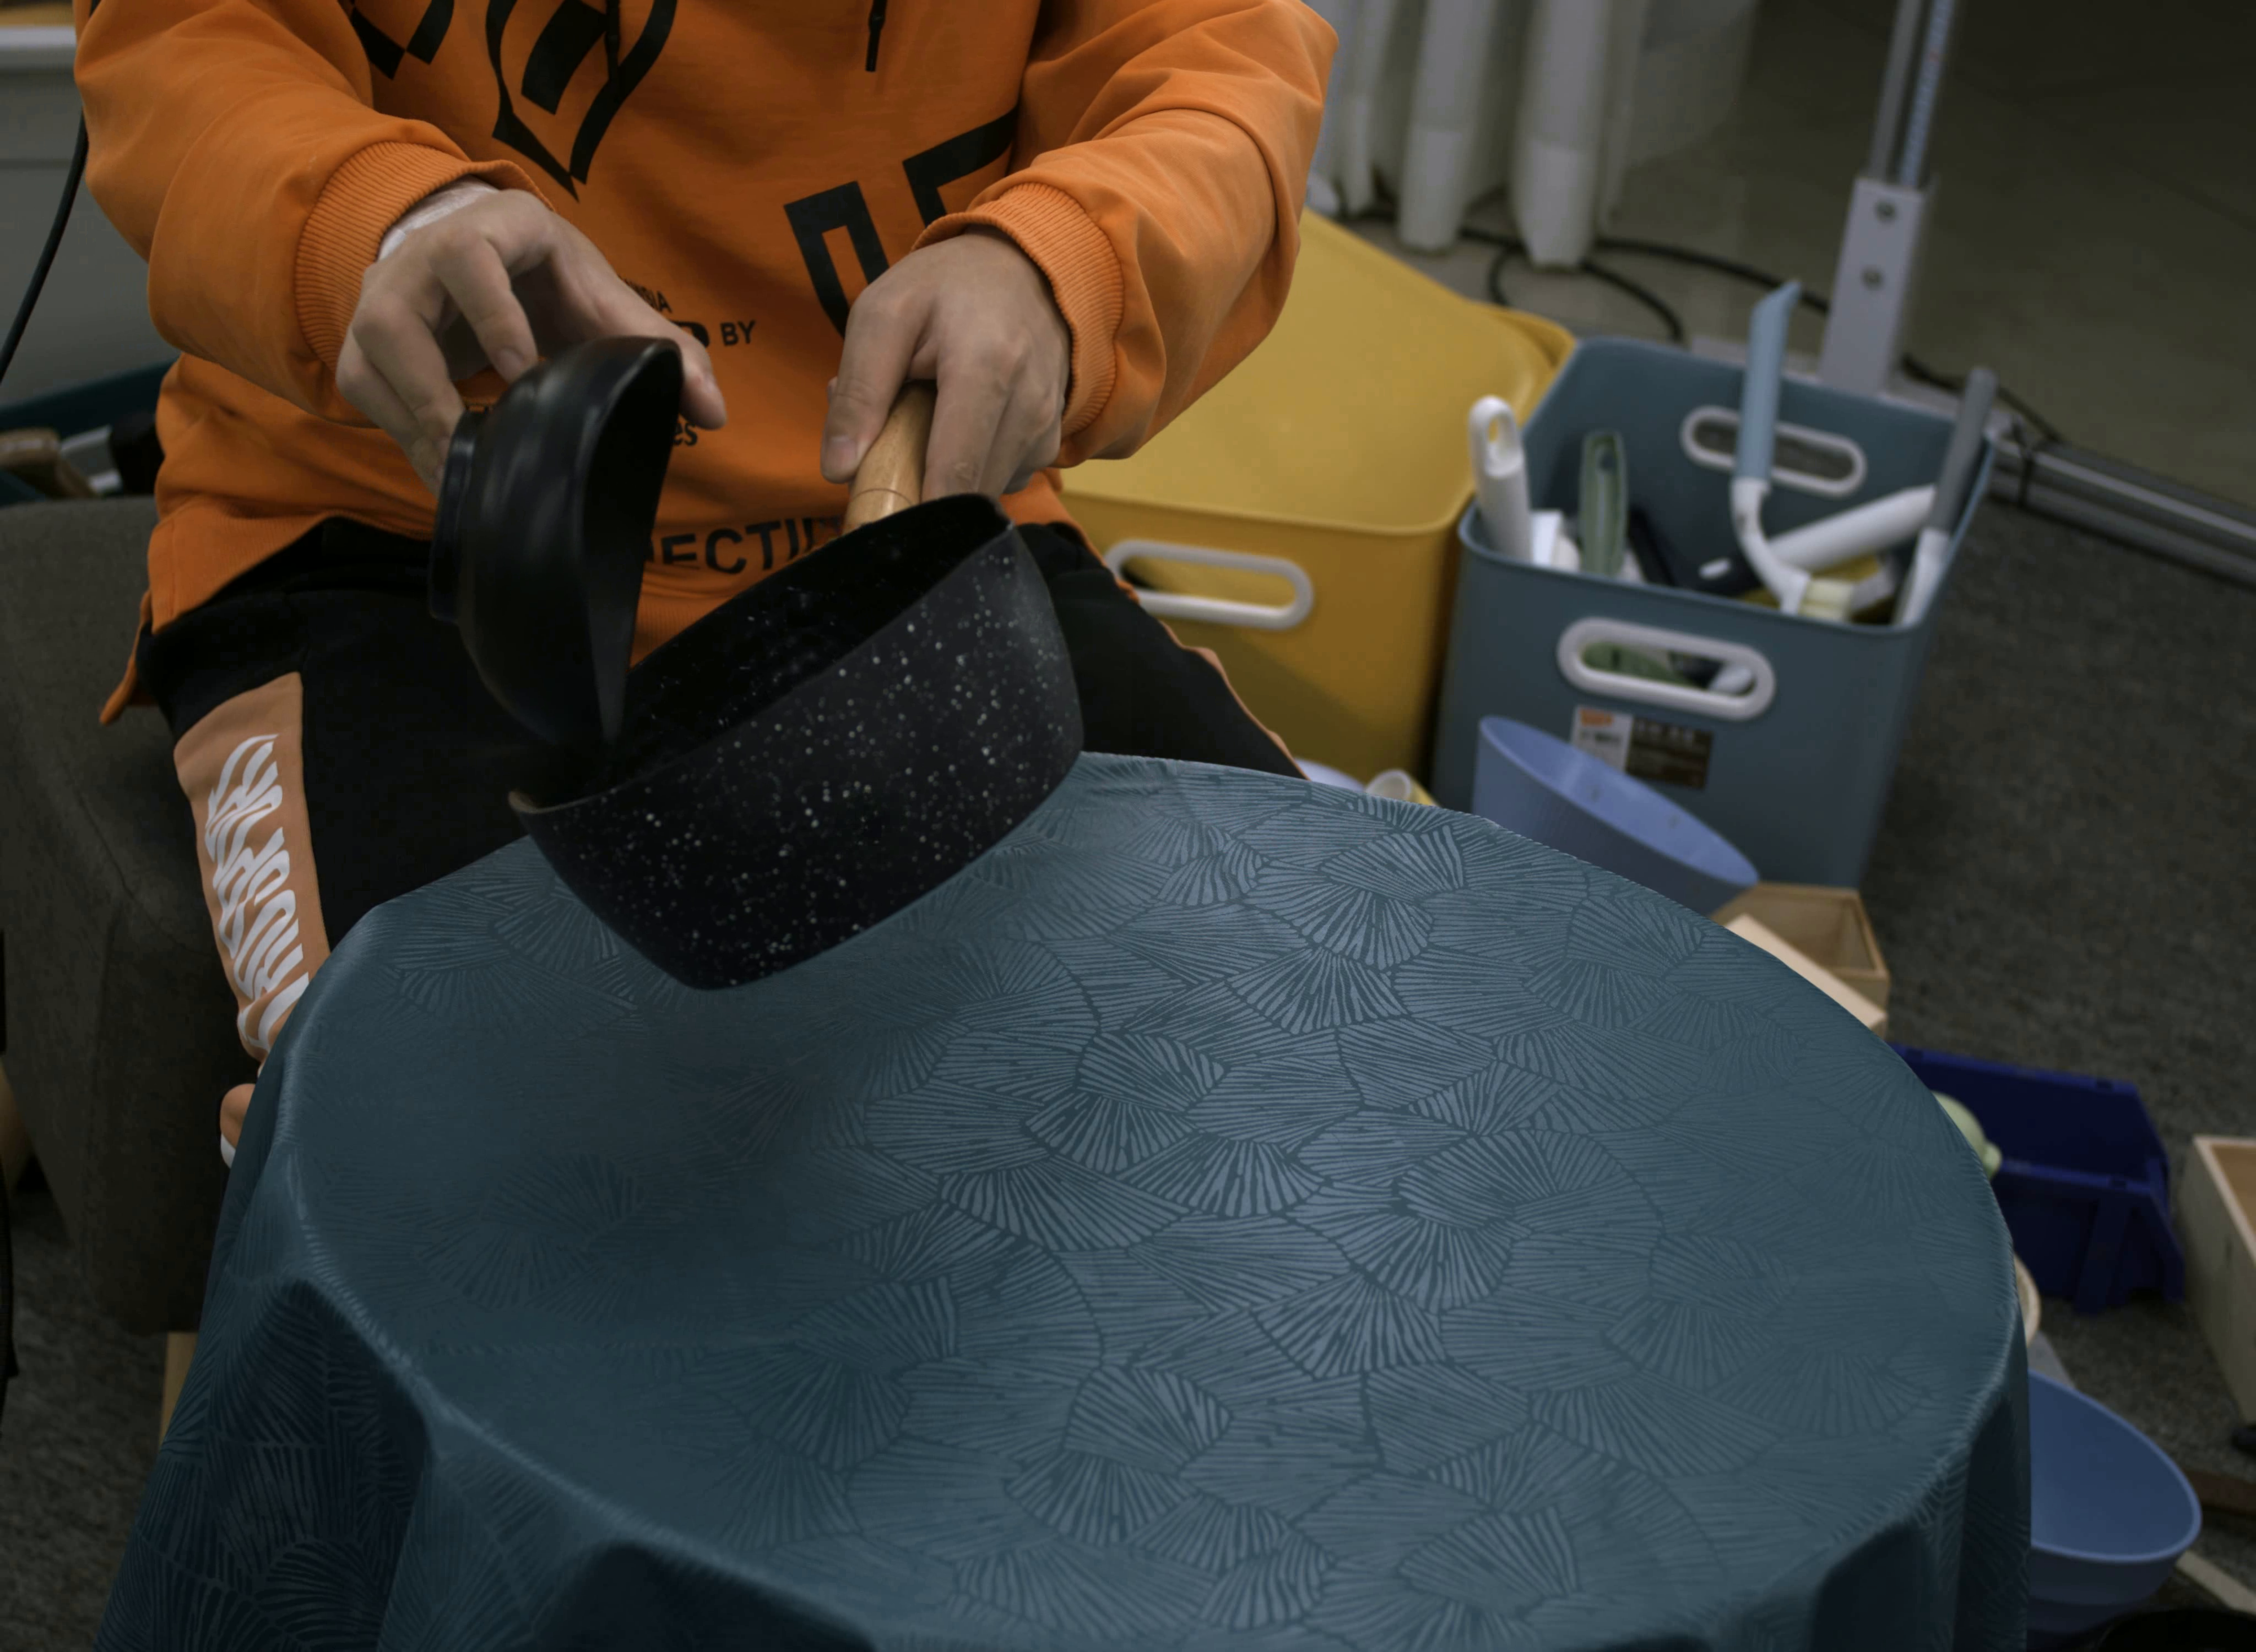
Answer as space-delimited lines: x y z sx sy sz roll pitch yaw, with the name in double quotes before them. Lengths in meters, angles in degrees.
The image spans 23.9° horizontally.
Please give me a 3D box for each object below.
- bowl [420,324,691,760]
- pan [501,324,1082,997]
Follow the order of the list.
"bowl" -0.185 -0.094 1.689 0.066 0.138 0.170 10 -8 2
"pan" -0.091 -0.064 1.779 0.207 0.108 0.344 -27 16 22
